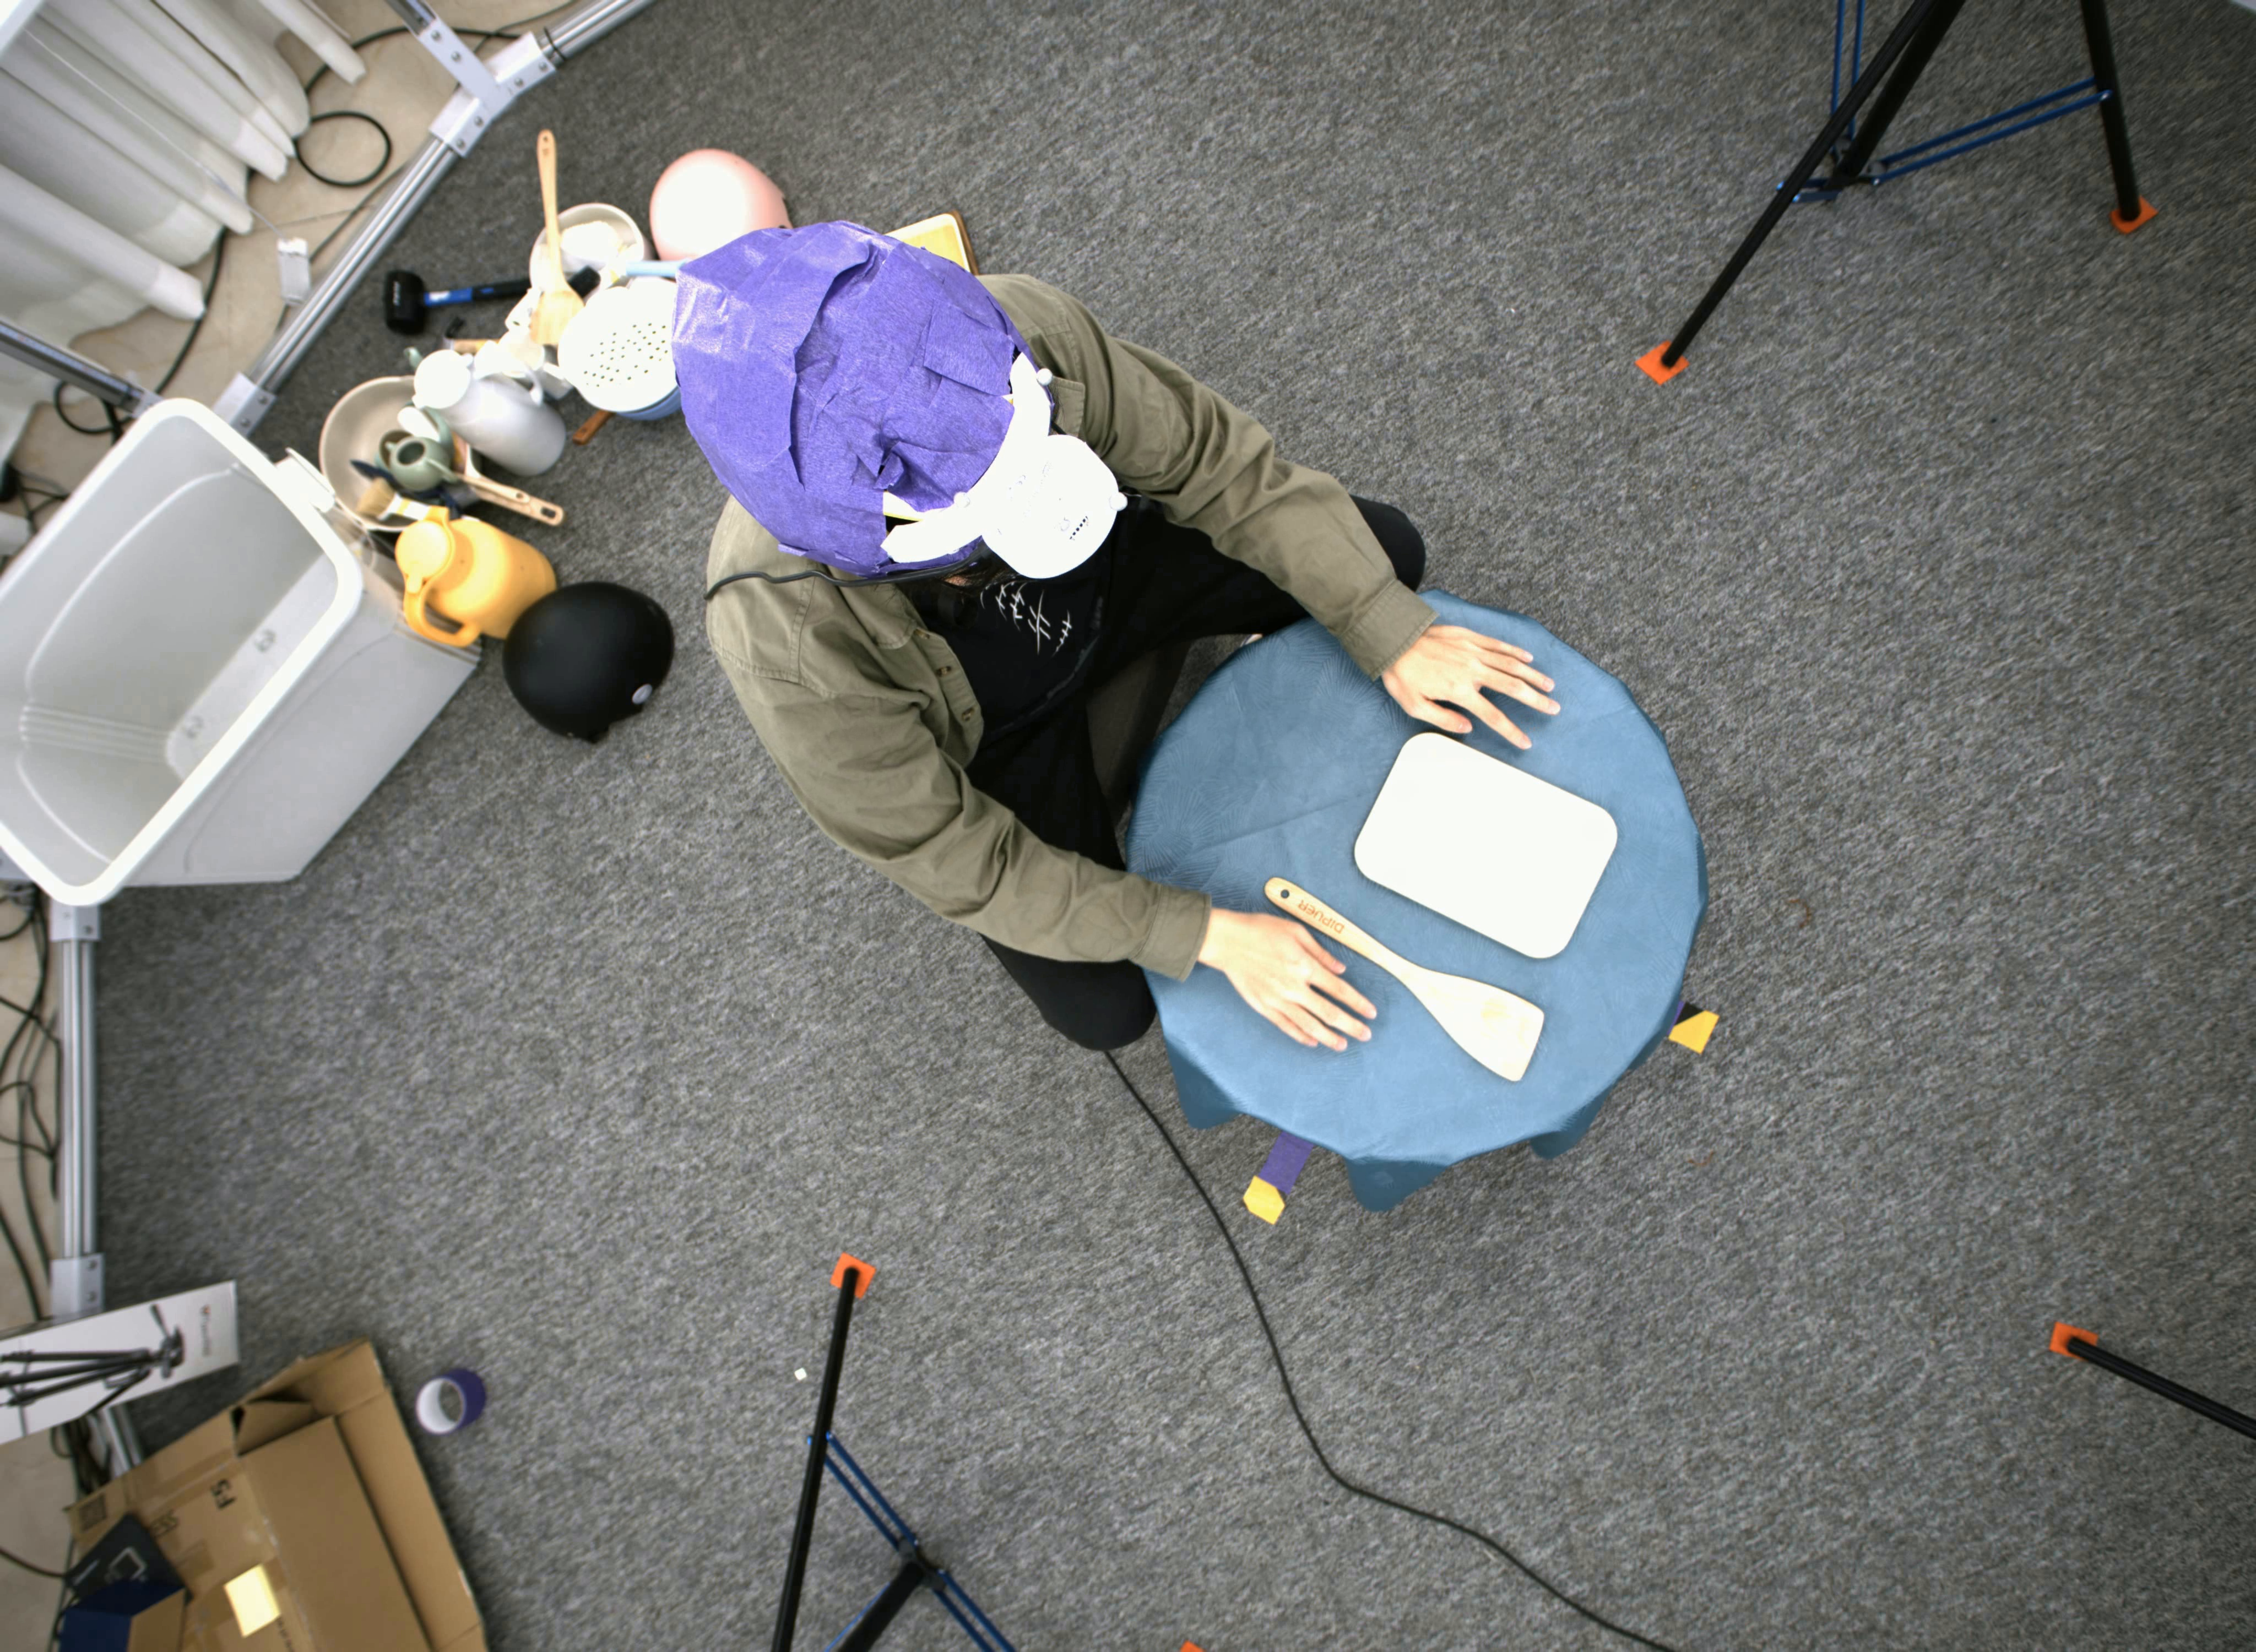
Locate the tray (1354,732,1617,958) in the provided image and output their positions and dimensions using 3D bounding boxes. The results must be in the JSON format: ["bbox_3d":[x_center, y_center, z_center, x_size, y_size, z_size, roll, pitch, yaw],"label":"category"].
[{"bbox_3d":[0.369,0.017,1.424,0.239,0.017,0.171,26,92,10],"label":"tray"}]

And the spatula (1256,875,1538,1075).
[{"bbox_3d":[0.275,0.139,1.436,0.327,0.016,0.080,31,93,9],"label":"spatula"}]
